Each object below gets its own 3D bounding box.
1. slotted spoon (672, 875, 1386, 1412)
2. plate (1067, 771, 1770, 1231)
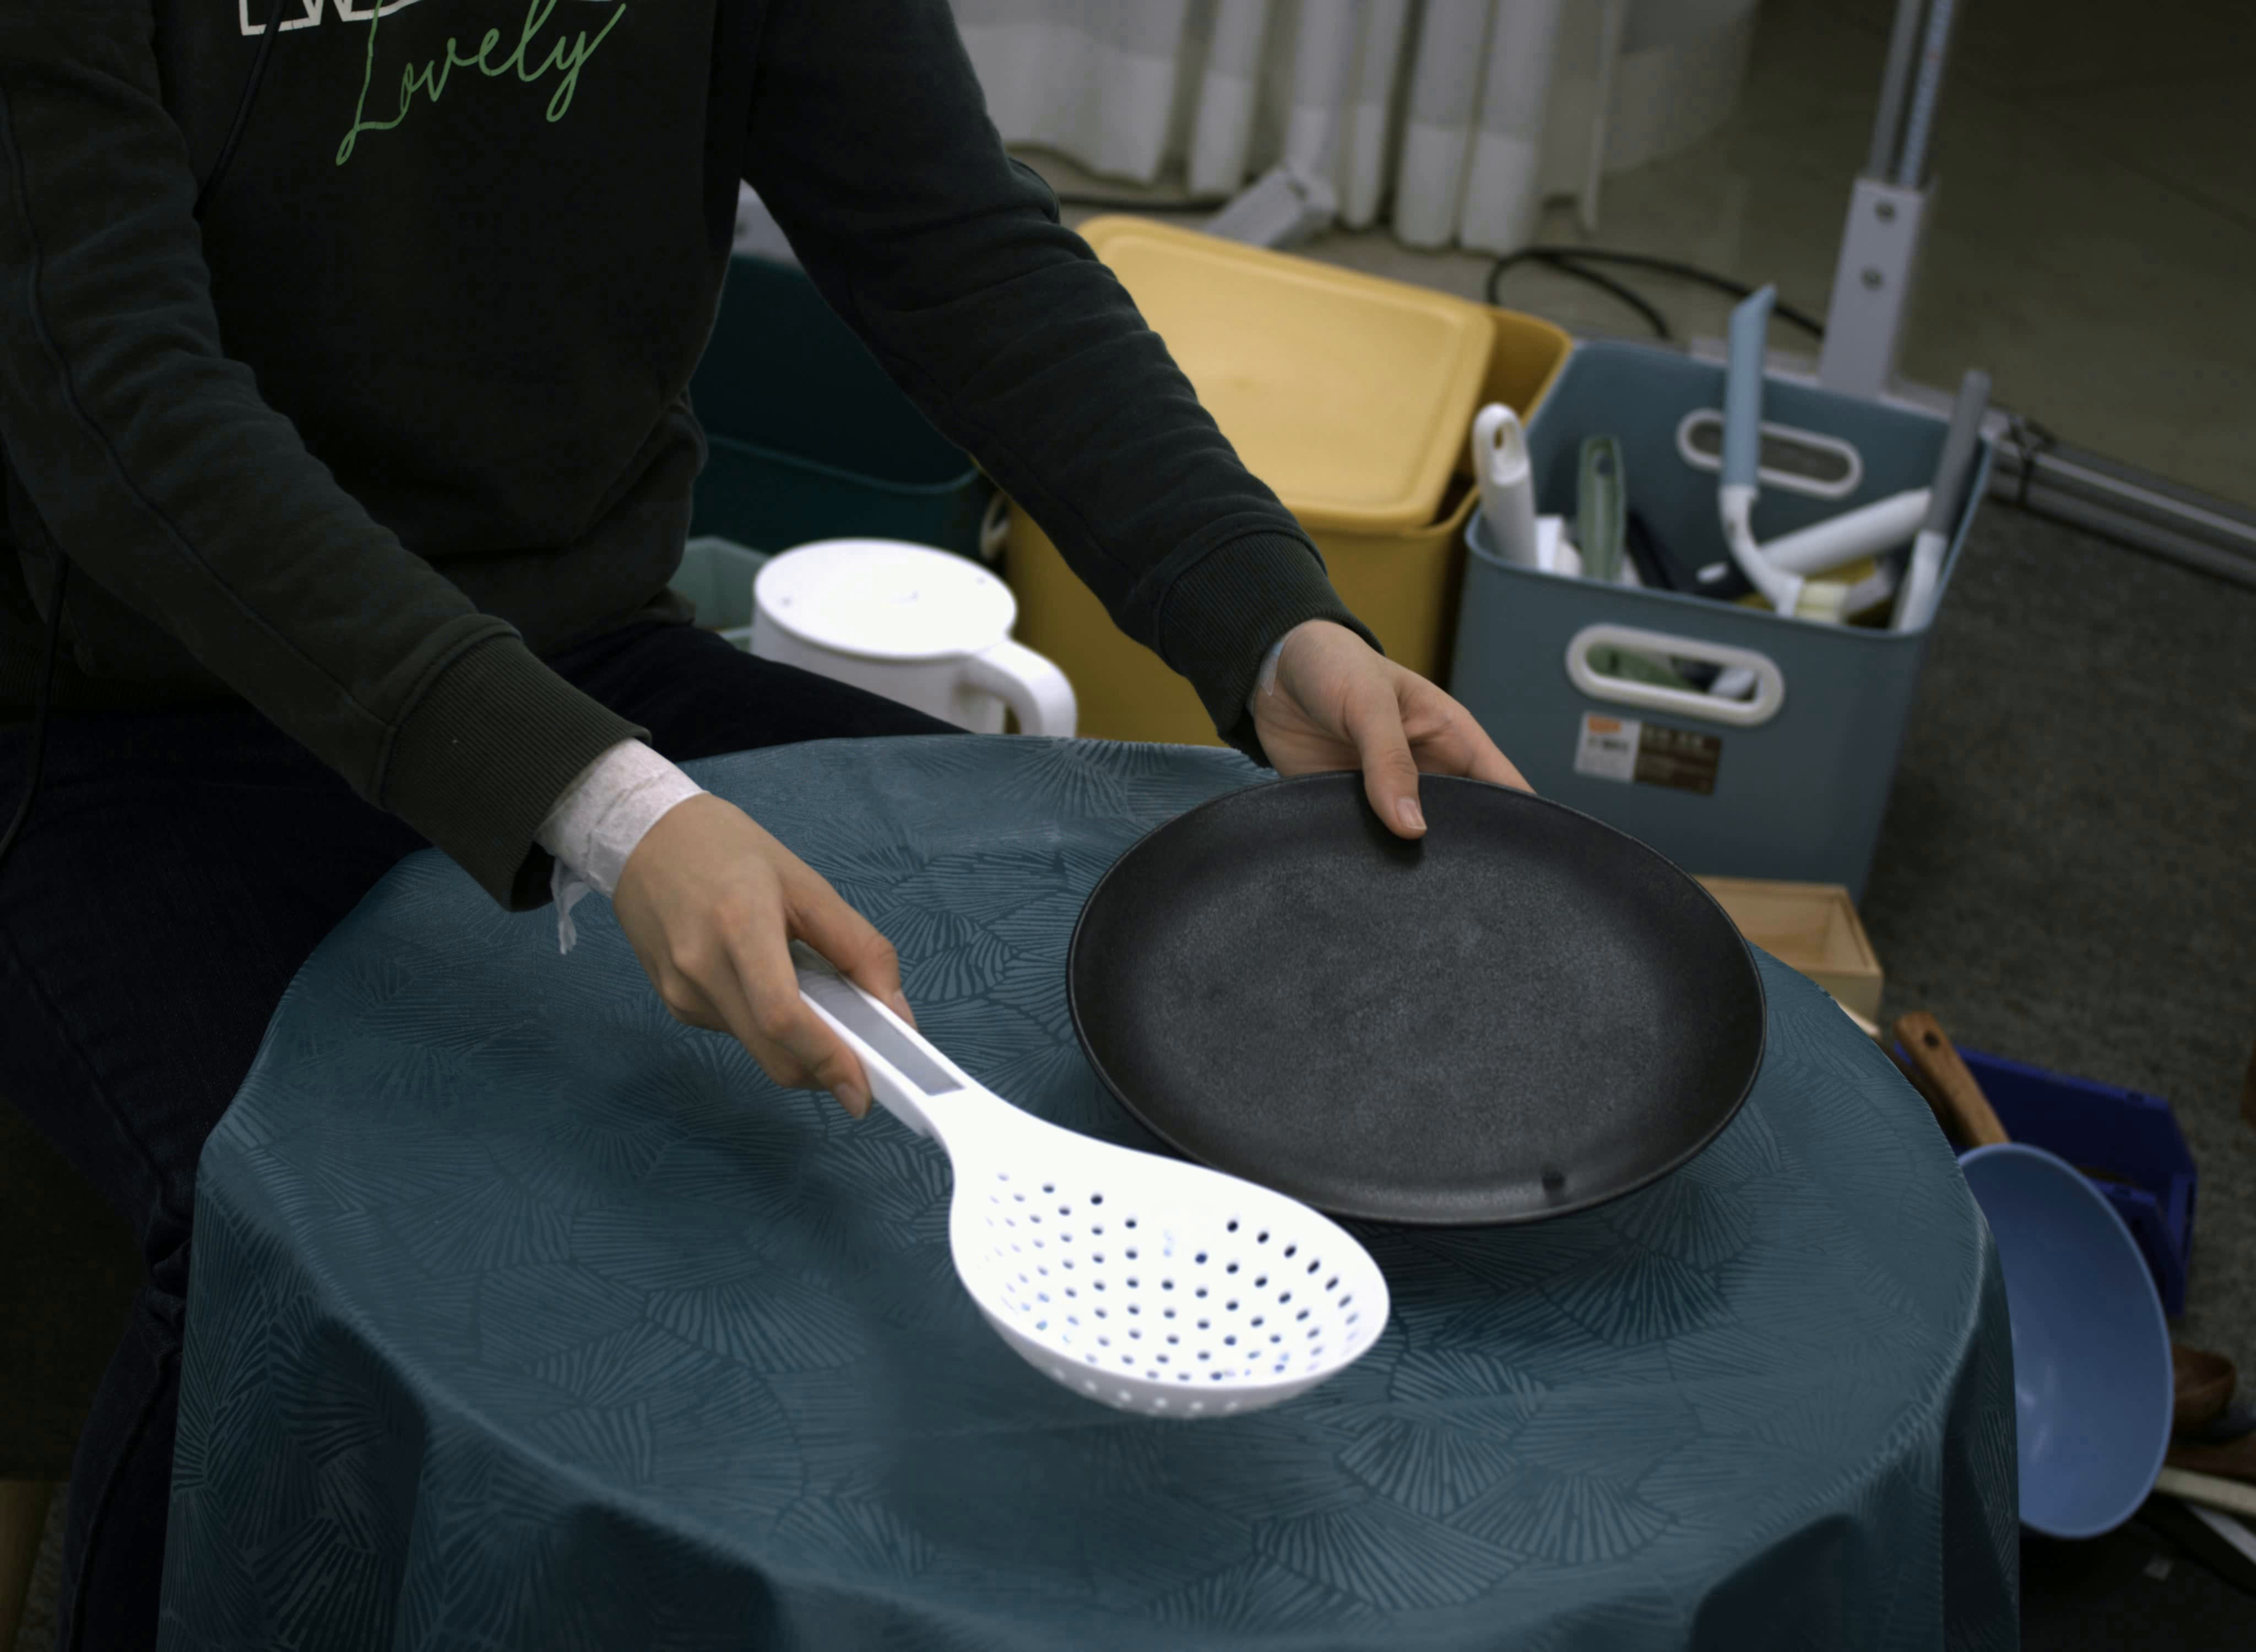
[{"bbox_3d":[-0.050,0.096,1.713,0.135,0.045,0.353,-8,34,-35],"label":"slotted spoon"},{"bbox_3d":[0.100,0.062,1.838,0.243,0.023,0.246,2,38,-2],"label":"plate"}]
